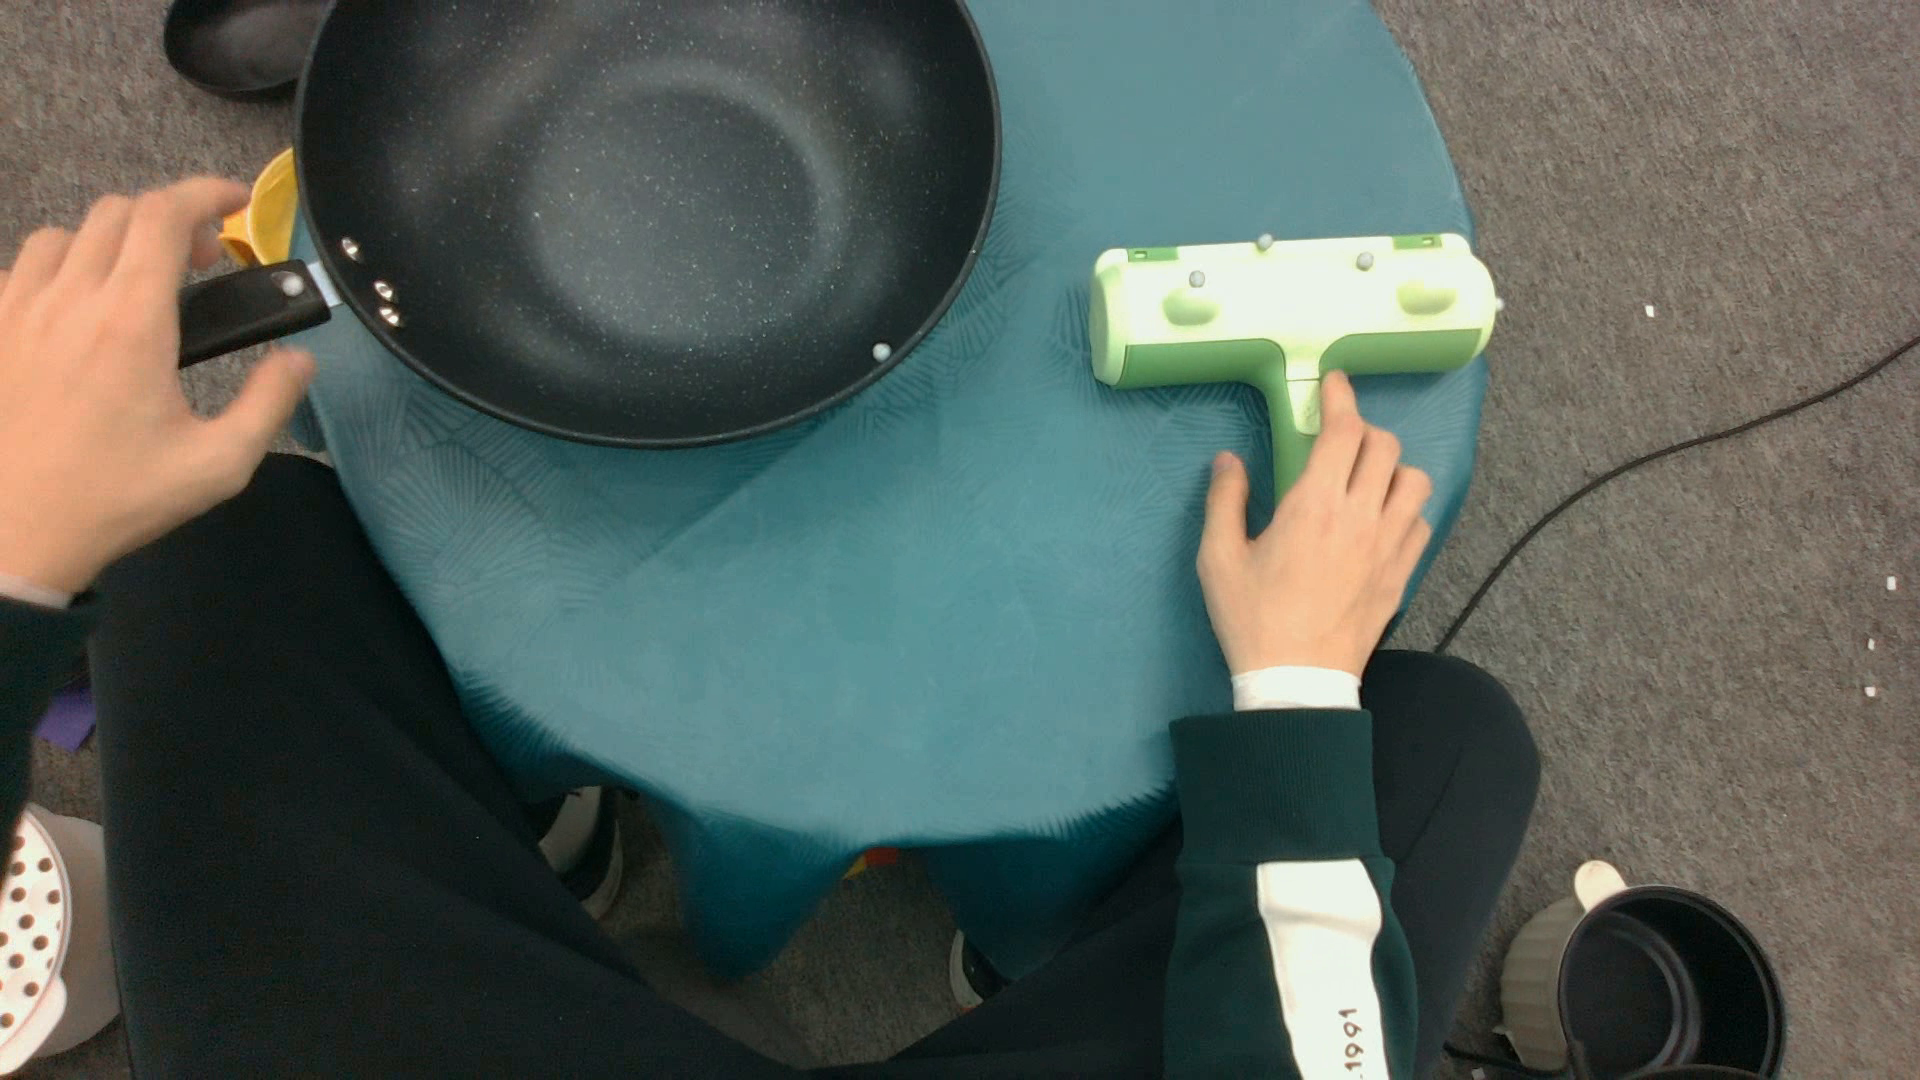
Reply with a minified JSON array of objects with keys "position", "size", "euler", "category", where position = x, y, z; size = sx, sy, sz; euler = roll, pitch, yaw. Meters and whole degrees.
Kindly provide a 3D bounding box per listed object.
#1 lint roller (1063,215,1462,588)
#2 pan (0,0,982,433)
[{"position":[0.159,-0.074,0.666],"size":[0.199,0.082,0.184],"euler":[-5,70,-8],"category":"lint roller"},{"position":[-0.215,-0.142,0.626],"size":[0.478,0.111,0.310],"euler":[-32,79,-15],"category":"pan"}]
